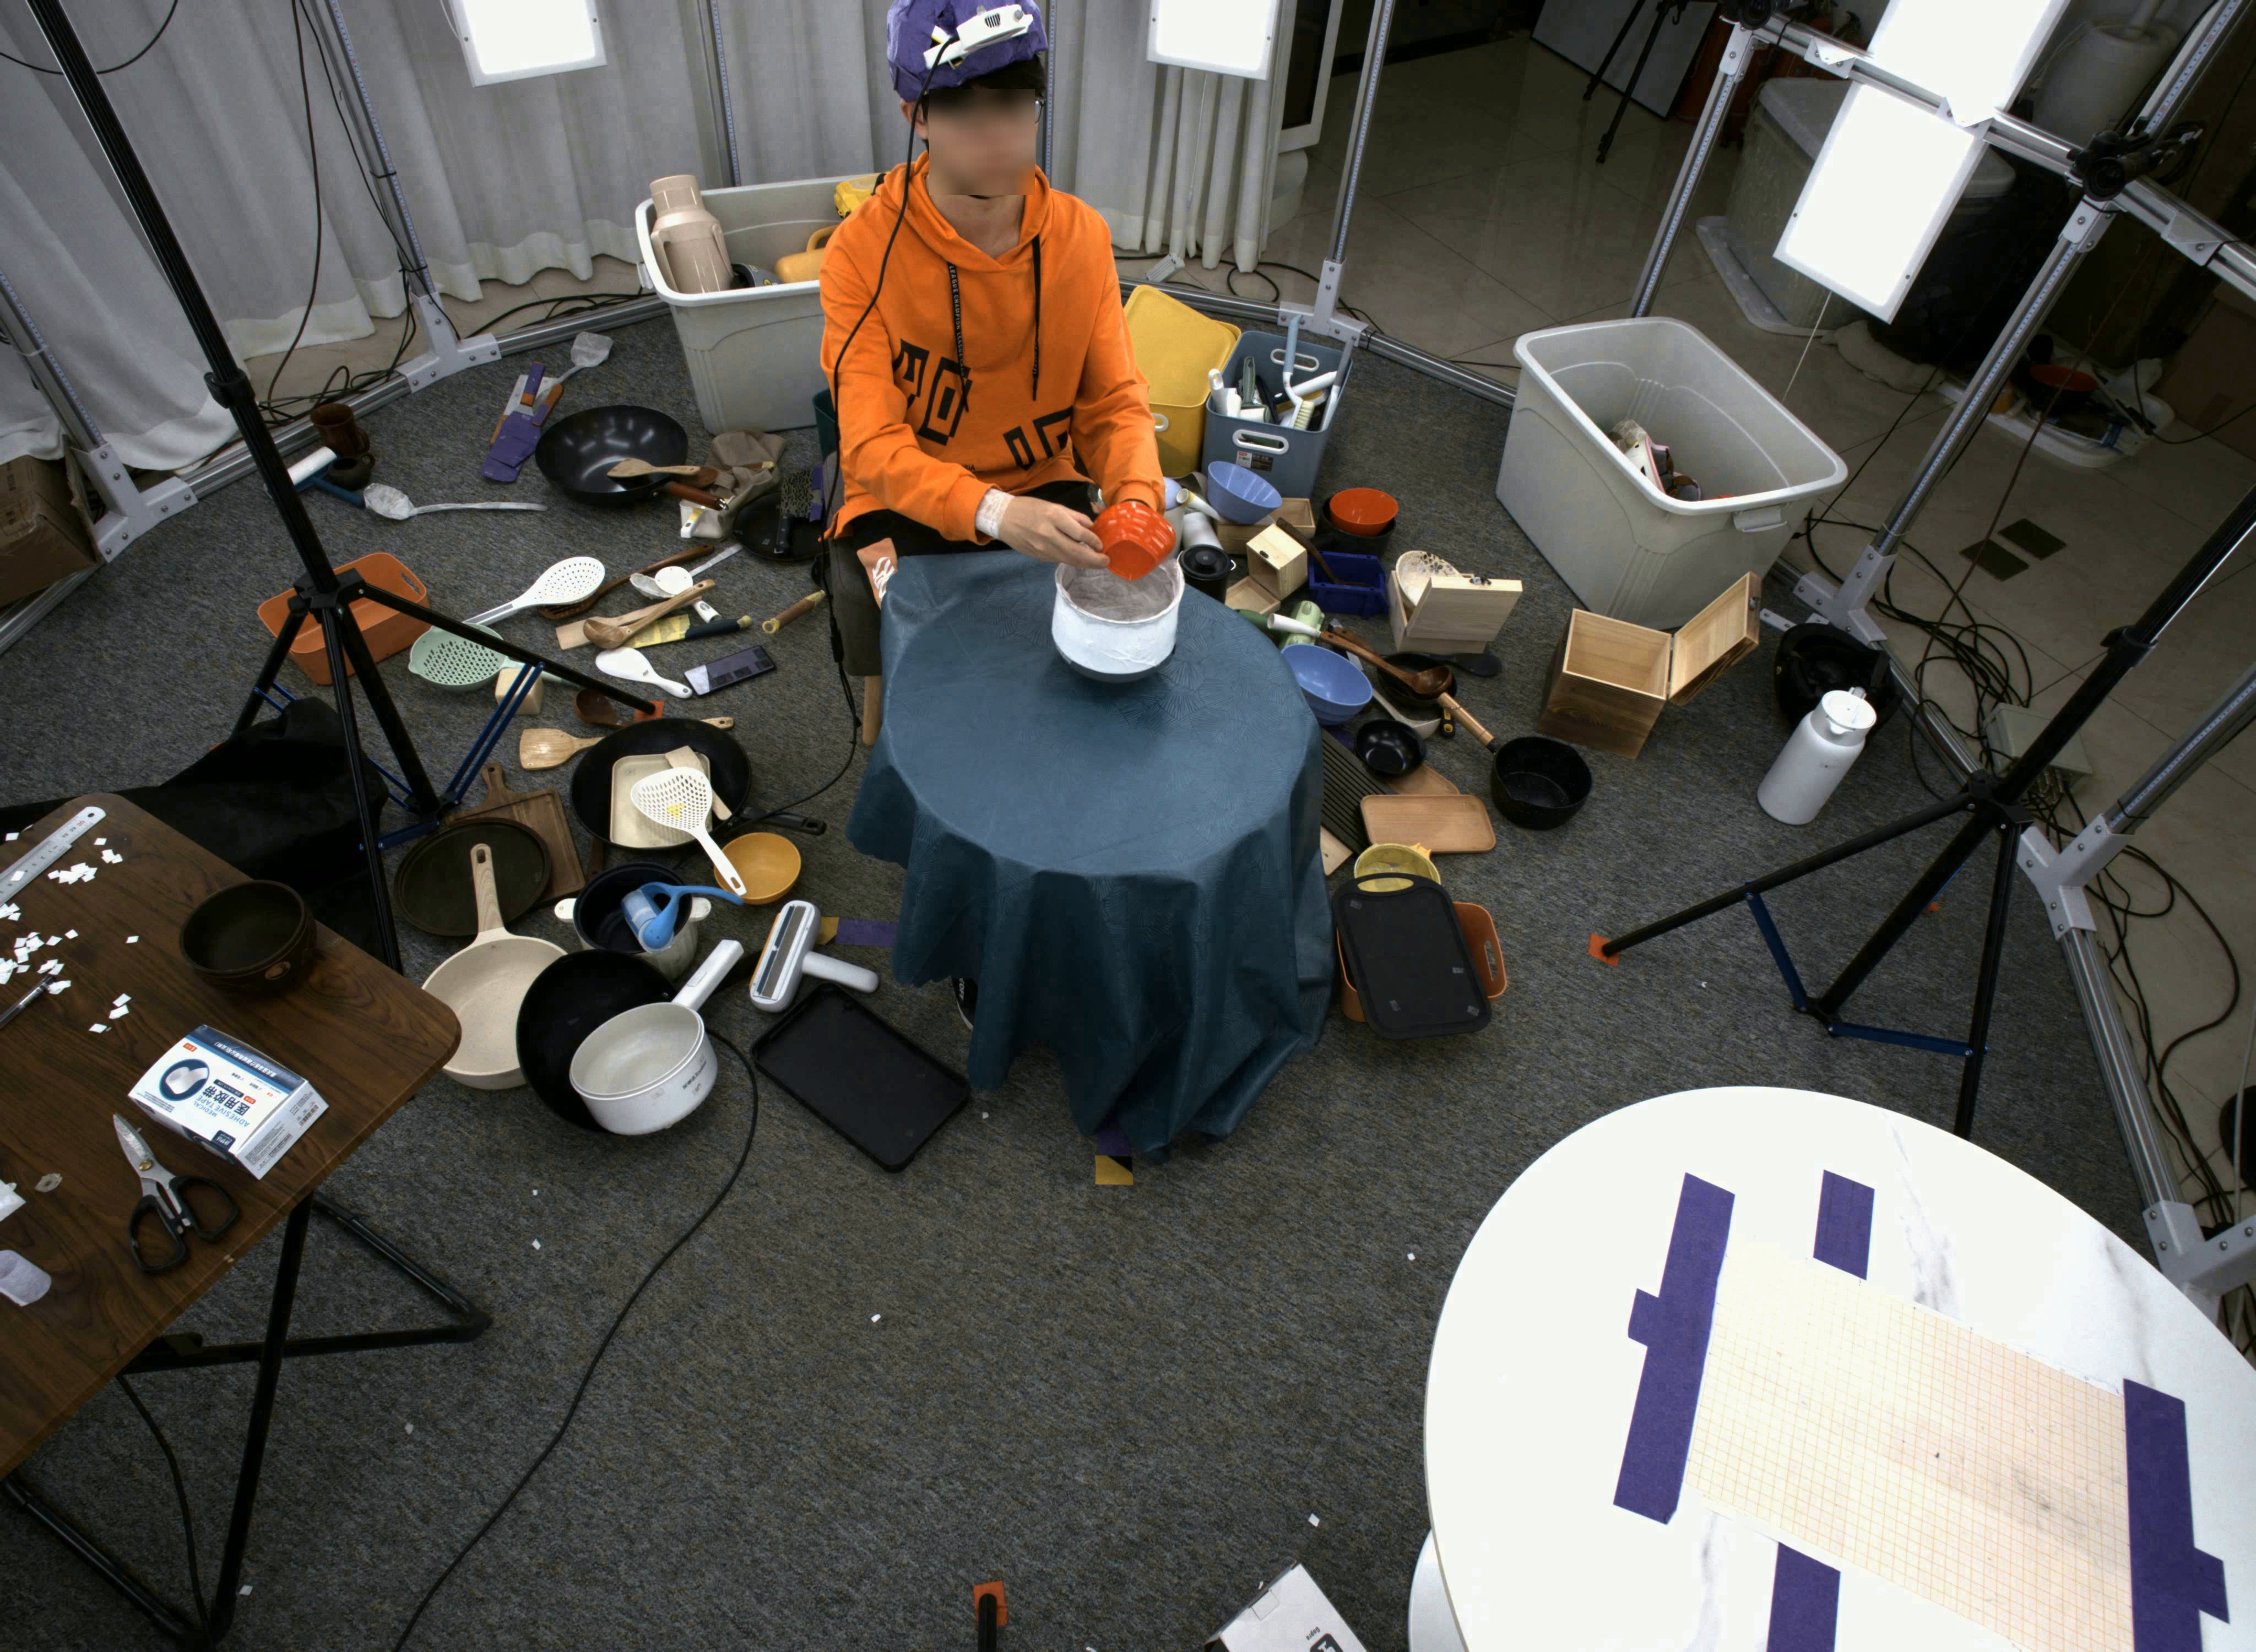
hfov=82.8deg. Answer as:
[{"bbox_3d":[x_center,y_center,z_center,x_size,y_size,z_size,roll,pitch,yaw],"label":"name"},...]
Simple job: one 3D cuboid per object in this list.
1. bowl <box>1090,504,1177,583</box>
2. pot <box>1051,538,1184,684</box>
[{"bbox_3d":[0.004,-0.370,1.727,0.119,0.116,0.052,9,56,3],"label":"bowl"},{"bbox_3d":[-0.014,-0.320,1.813,0.179,0.133,0.239,10,51,1],"label":"pot"}]
